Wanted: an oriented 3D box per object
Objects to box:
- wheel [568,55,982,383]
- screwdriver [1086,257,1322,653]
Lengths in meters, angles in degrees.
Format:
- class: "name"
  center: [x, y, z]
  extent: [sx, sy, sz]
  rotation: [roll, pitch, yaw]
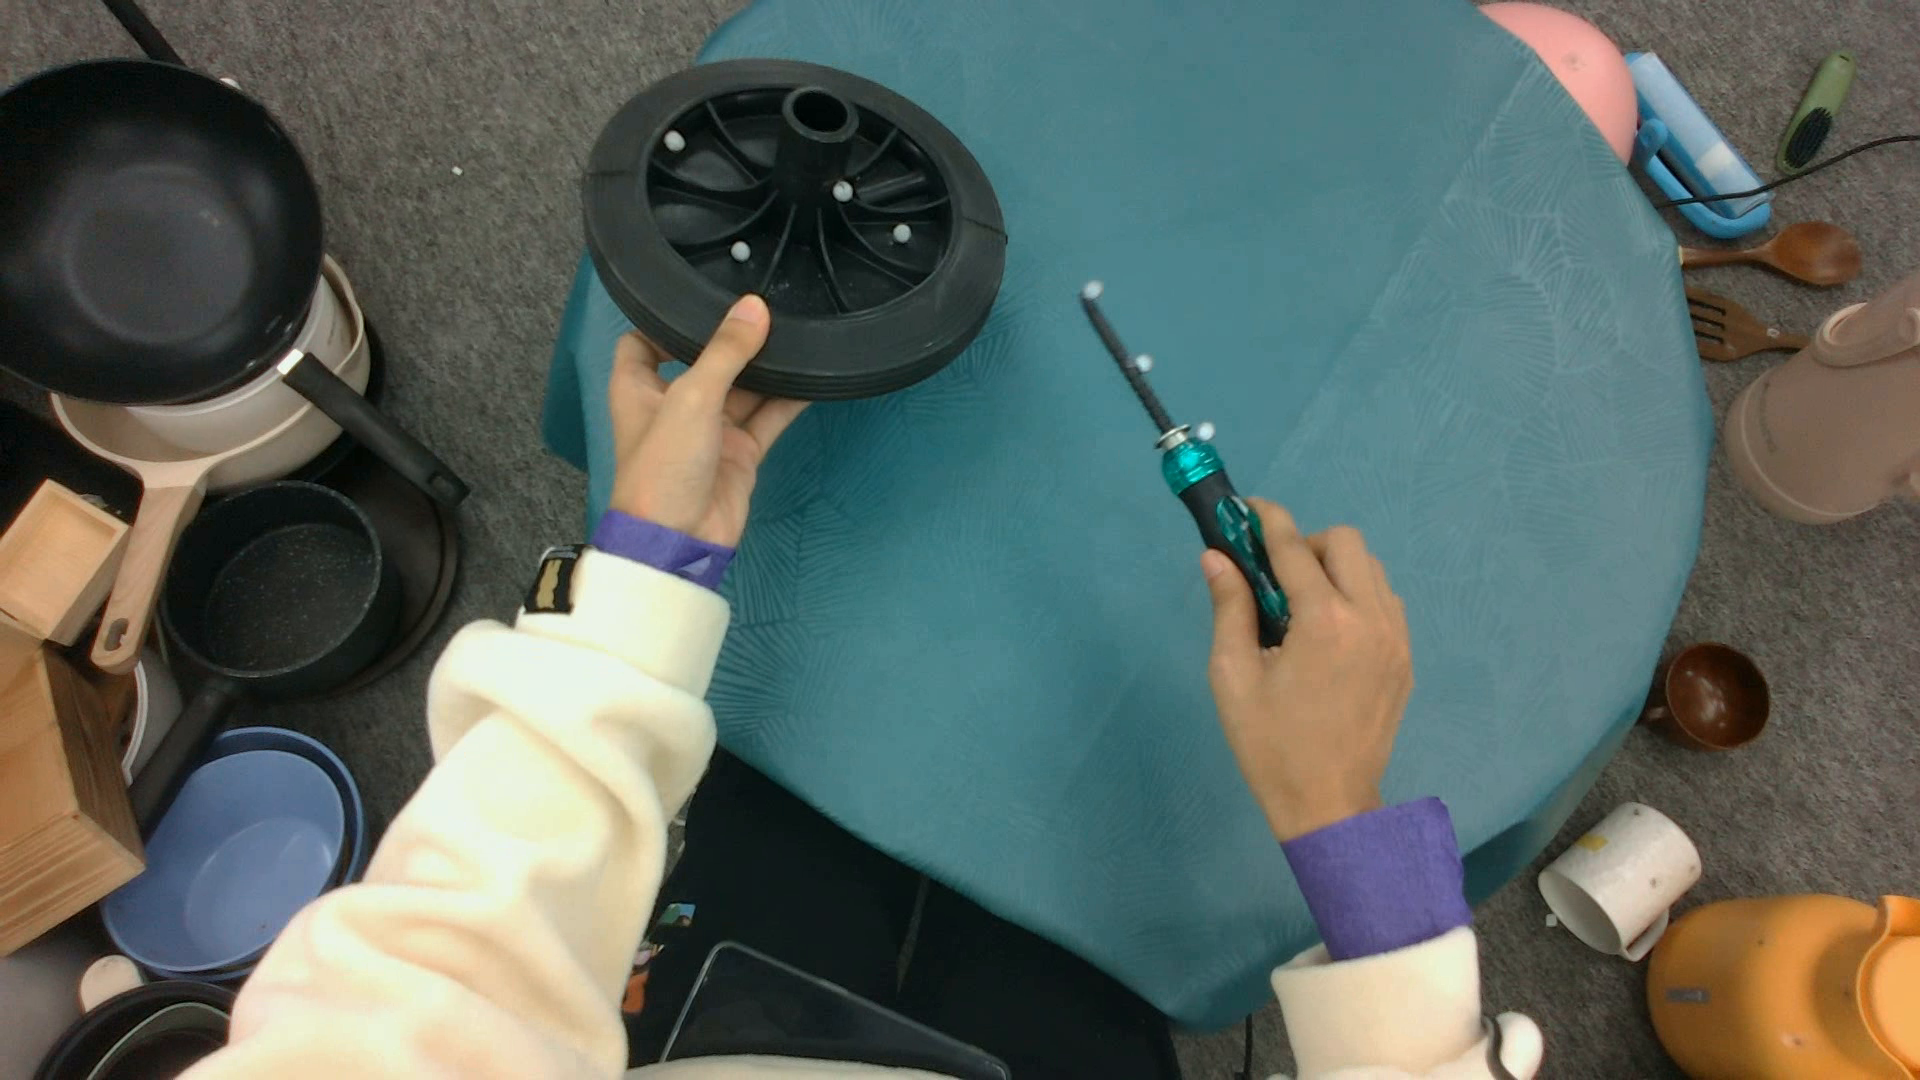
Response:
- class: "wheel"
  center: [-0.075, -0.162, 0.610]
  extent: [0.187, 0.078, 0.191]
  rotation: [35, 54, 5]
- class: "screwdriver"
  center: [0.098, -0.040, 0.585]
  extent: [0.034, 0.033, 0.190]
  rotation: [-25, 78, -12]
